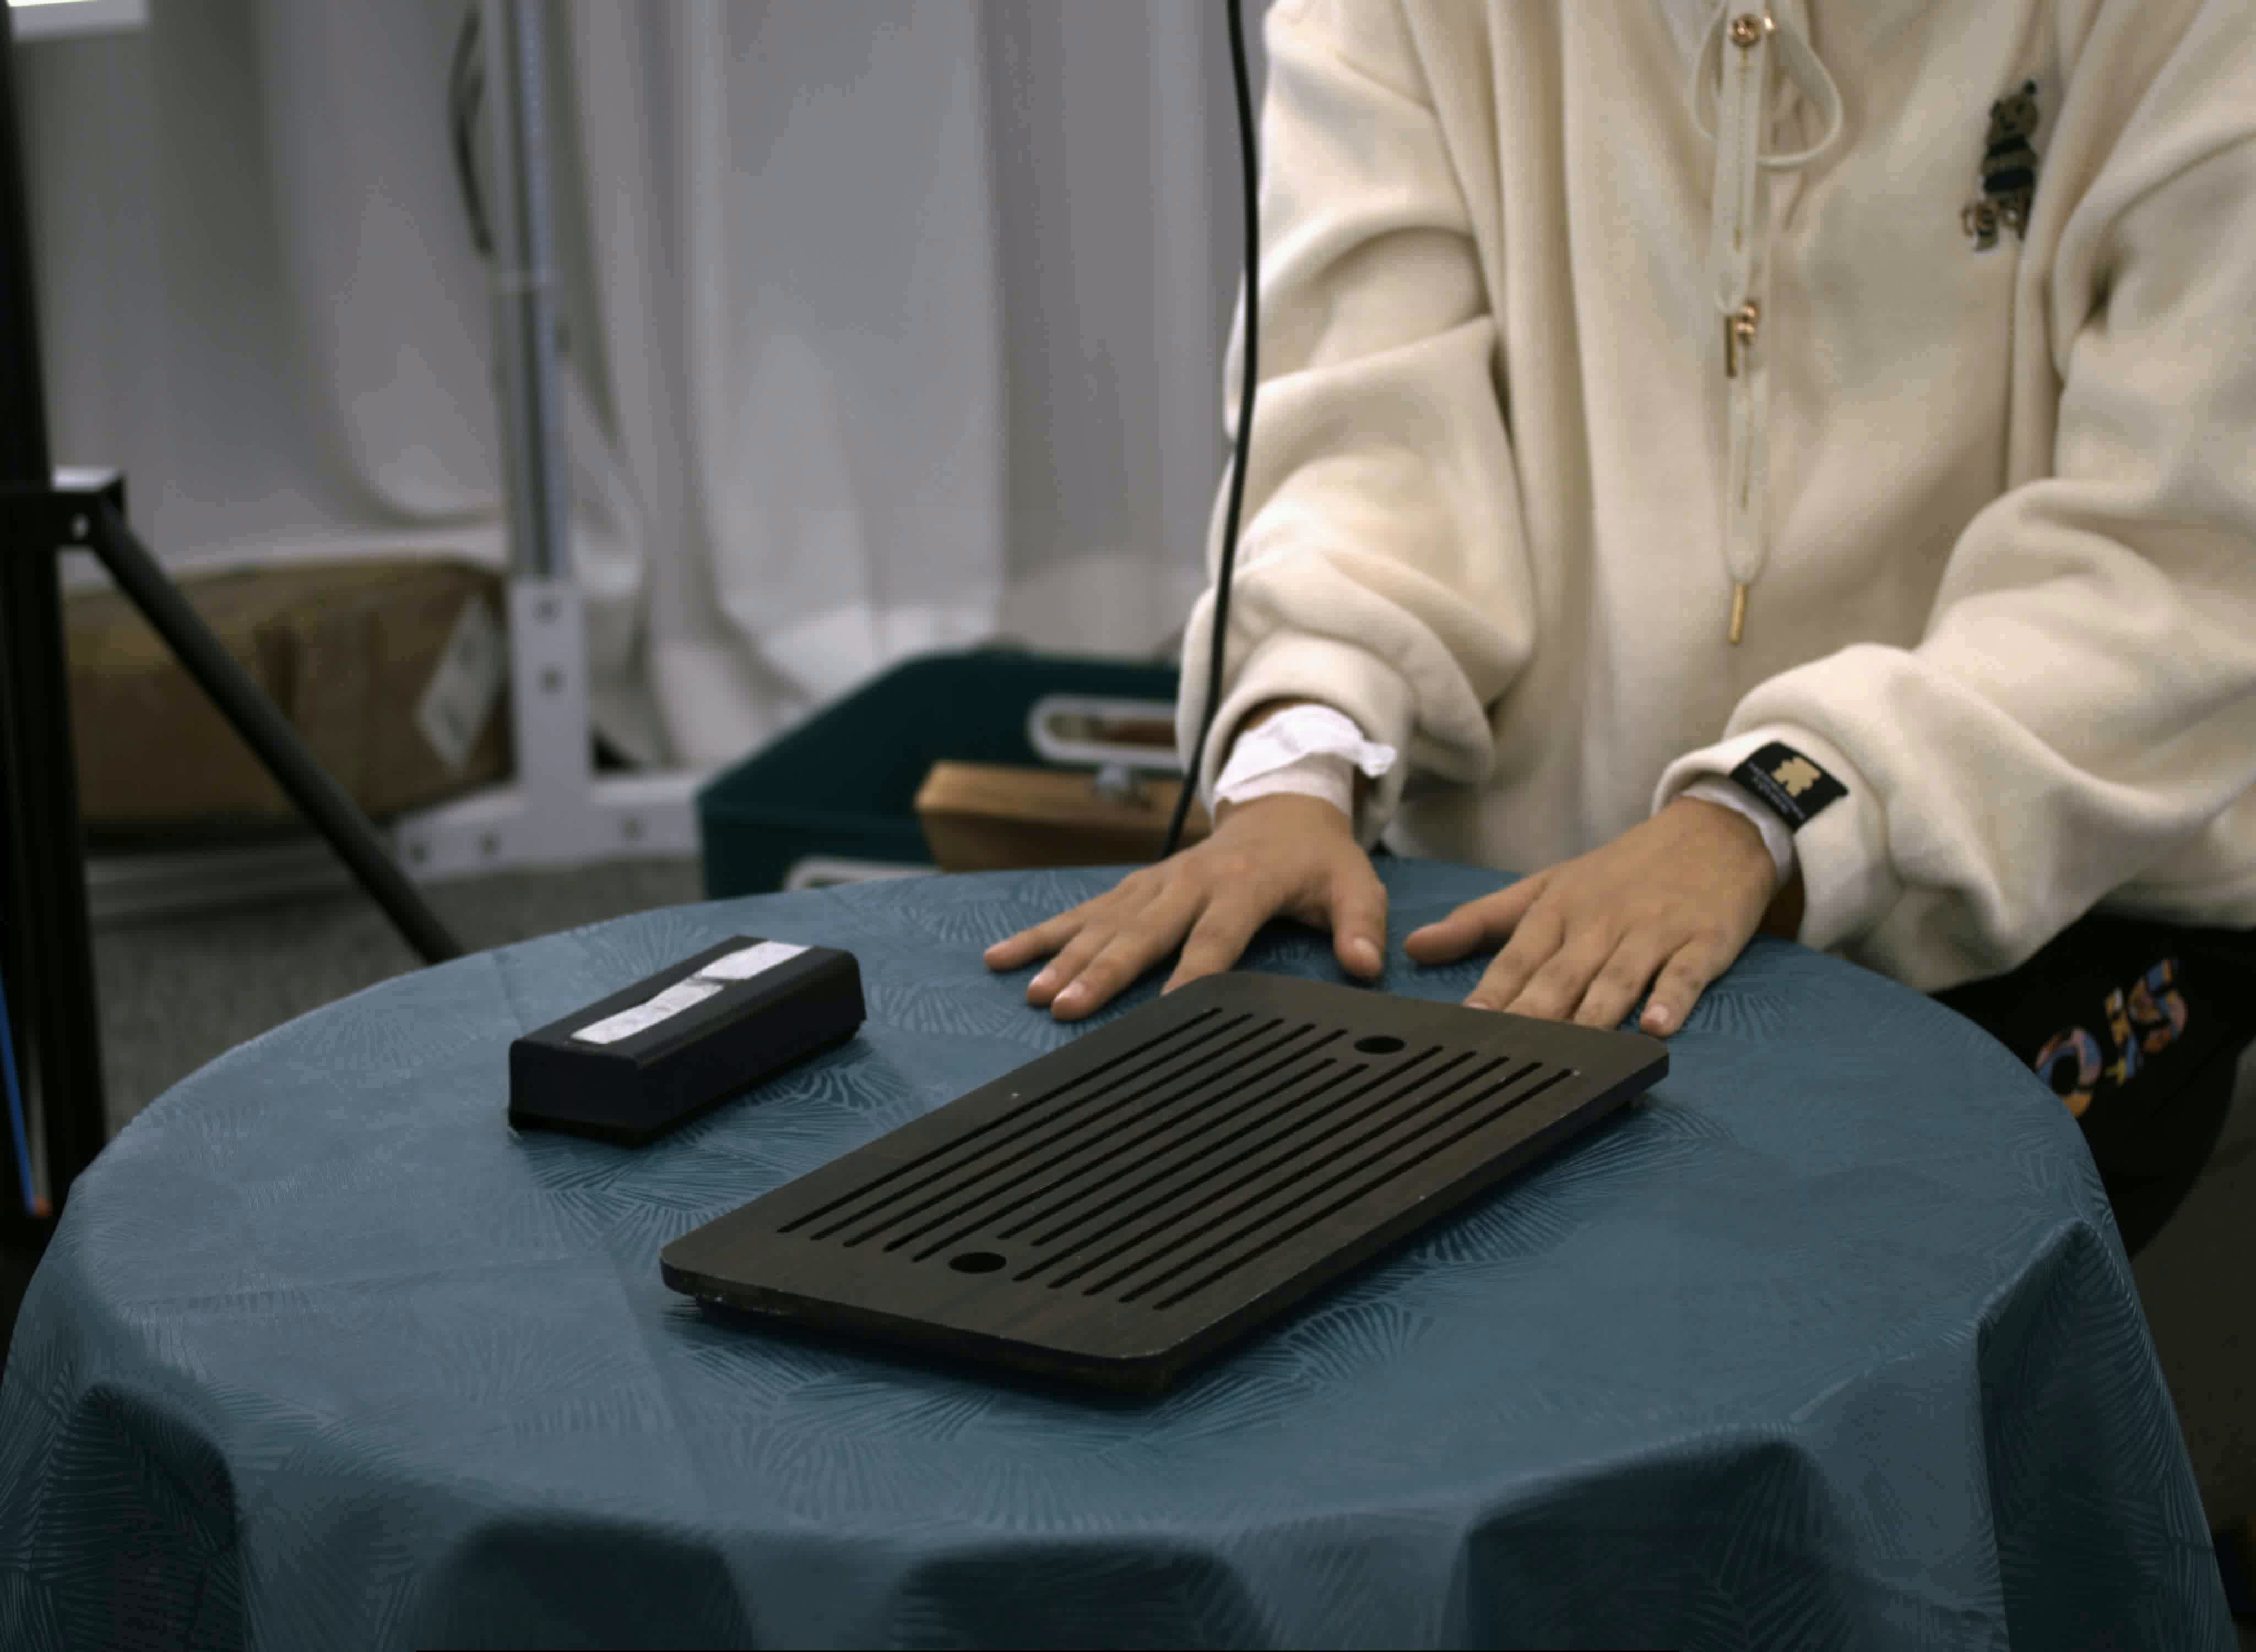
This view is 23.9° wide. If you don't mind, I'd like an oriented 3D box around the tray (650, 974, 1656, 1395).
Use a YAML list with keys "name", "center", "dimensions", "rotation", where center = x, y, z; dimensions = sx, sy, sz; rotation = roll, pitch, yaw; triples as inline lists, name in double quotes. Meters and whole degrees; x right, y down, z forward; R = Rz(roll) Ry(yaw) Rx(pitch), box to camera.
- name: "tray"
  center: [0.014, 0.101, 1.547]
  dimensions: [0.173, 0.018, 0.300]
  rotation: [8, 19, 33]

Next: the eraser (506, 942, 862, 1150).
- name: "eraser"
  center: [-0.138, 0.068, 1.673]
  dimensions: [0.054, 0.030, 0.123]
  rotation: [10, 18, 30]
